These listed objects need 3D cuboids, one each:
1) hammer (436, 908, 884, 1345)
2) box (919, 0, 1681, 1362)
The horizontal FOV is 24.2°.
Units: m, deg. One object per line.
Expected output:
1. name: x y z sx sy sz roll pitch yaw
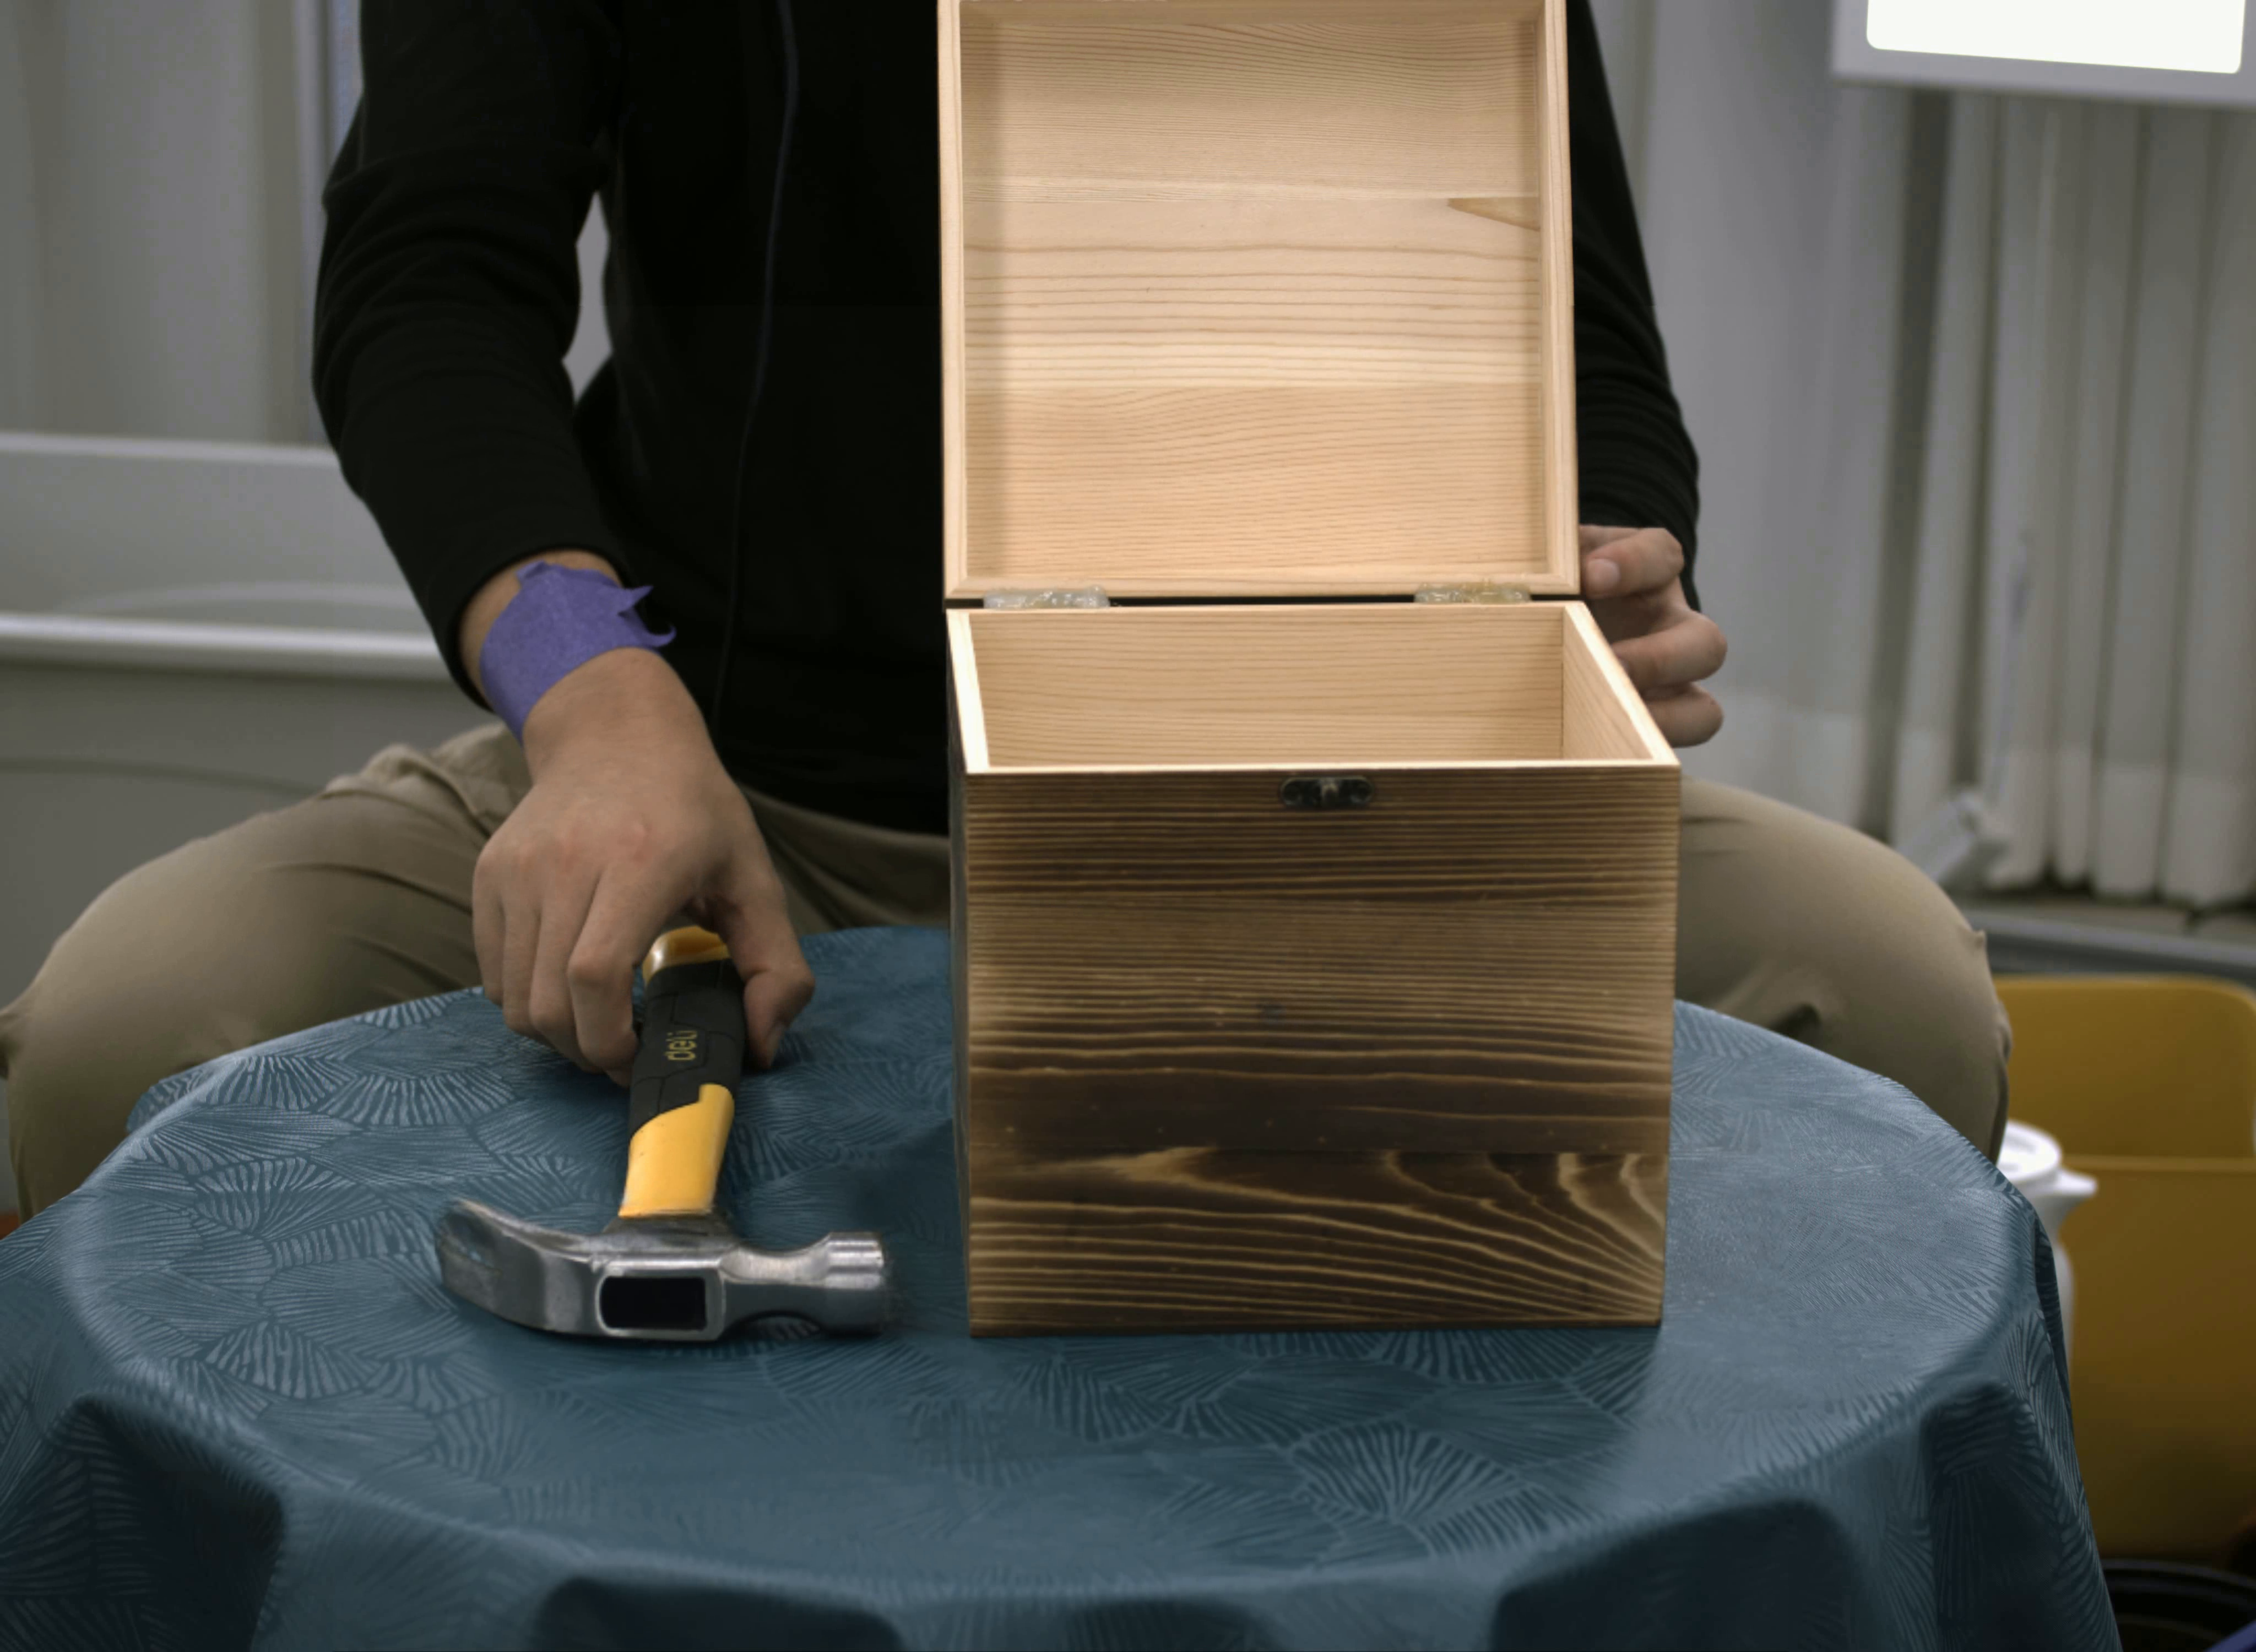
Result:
1. hammer: -0.138 0.086 1.643 0.131 0.032 0.336 0 17 -1
2. box: 0.045 -0.067 1.600 0.208 0.378 0.320 -1 15 -3
